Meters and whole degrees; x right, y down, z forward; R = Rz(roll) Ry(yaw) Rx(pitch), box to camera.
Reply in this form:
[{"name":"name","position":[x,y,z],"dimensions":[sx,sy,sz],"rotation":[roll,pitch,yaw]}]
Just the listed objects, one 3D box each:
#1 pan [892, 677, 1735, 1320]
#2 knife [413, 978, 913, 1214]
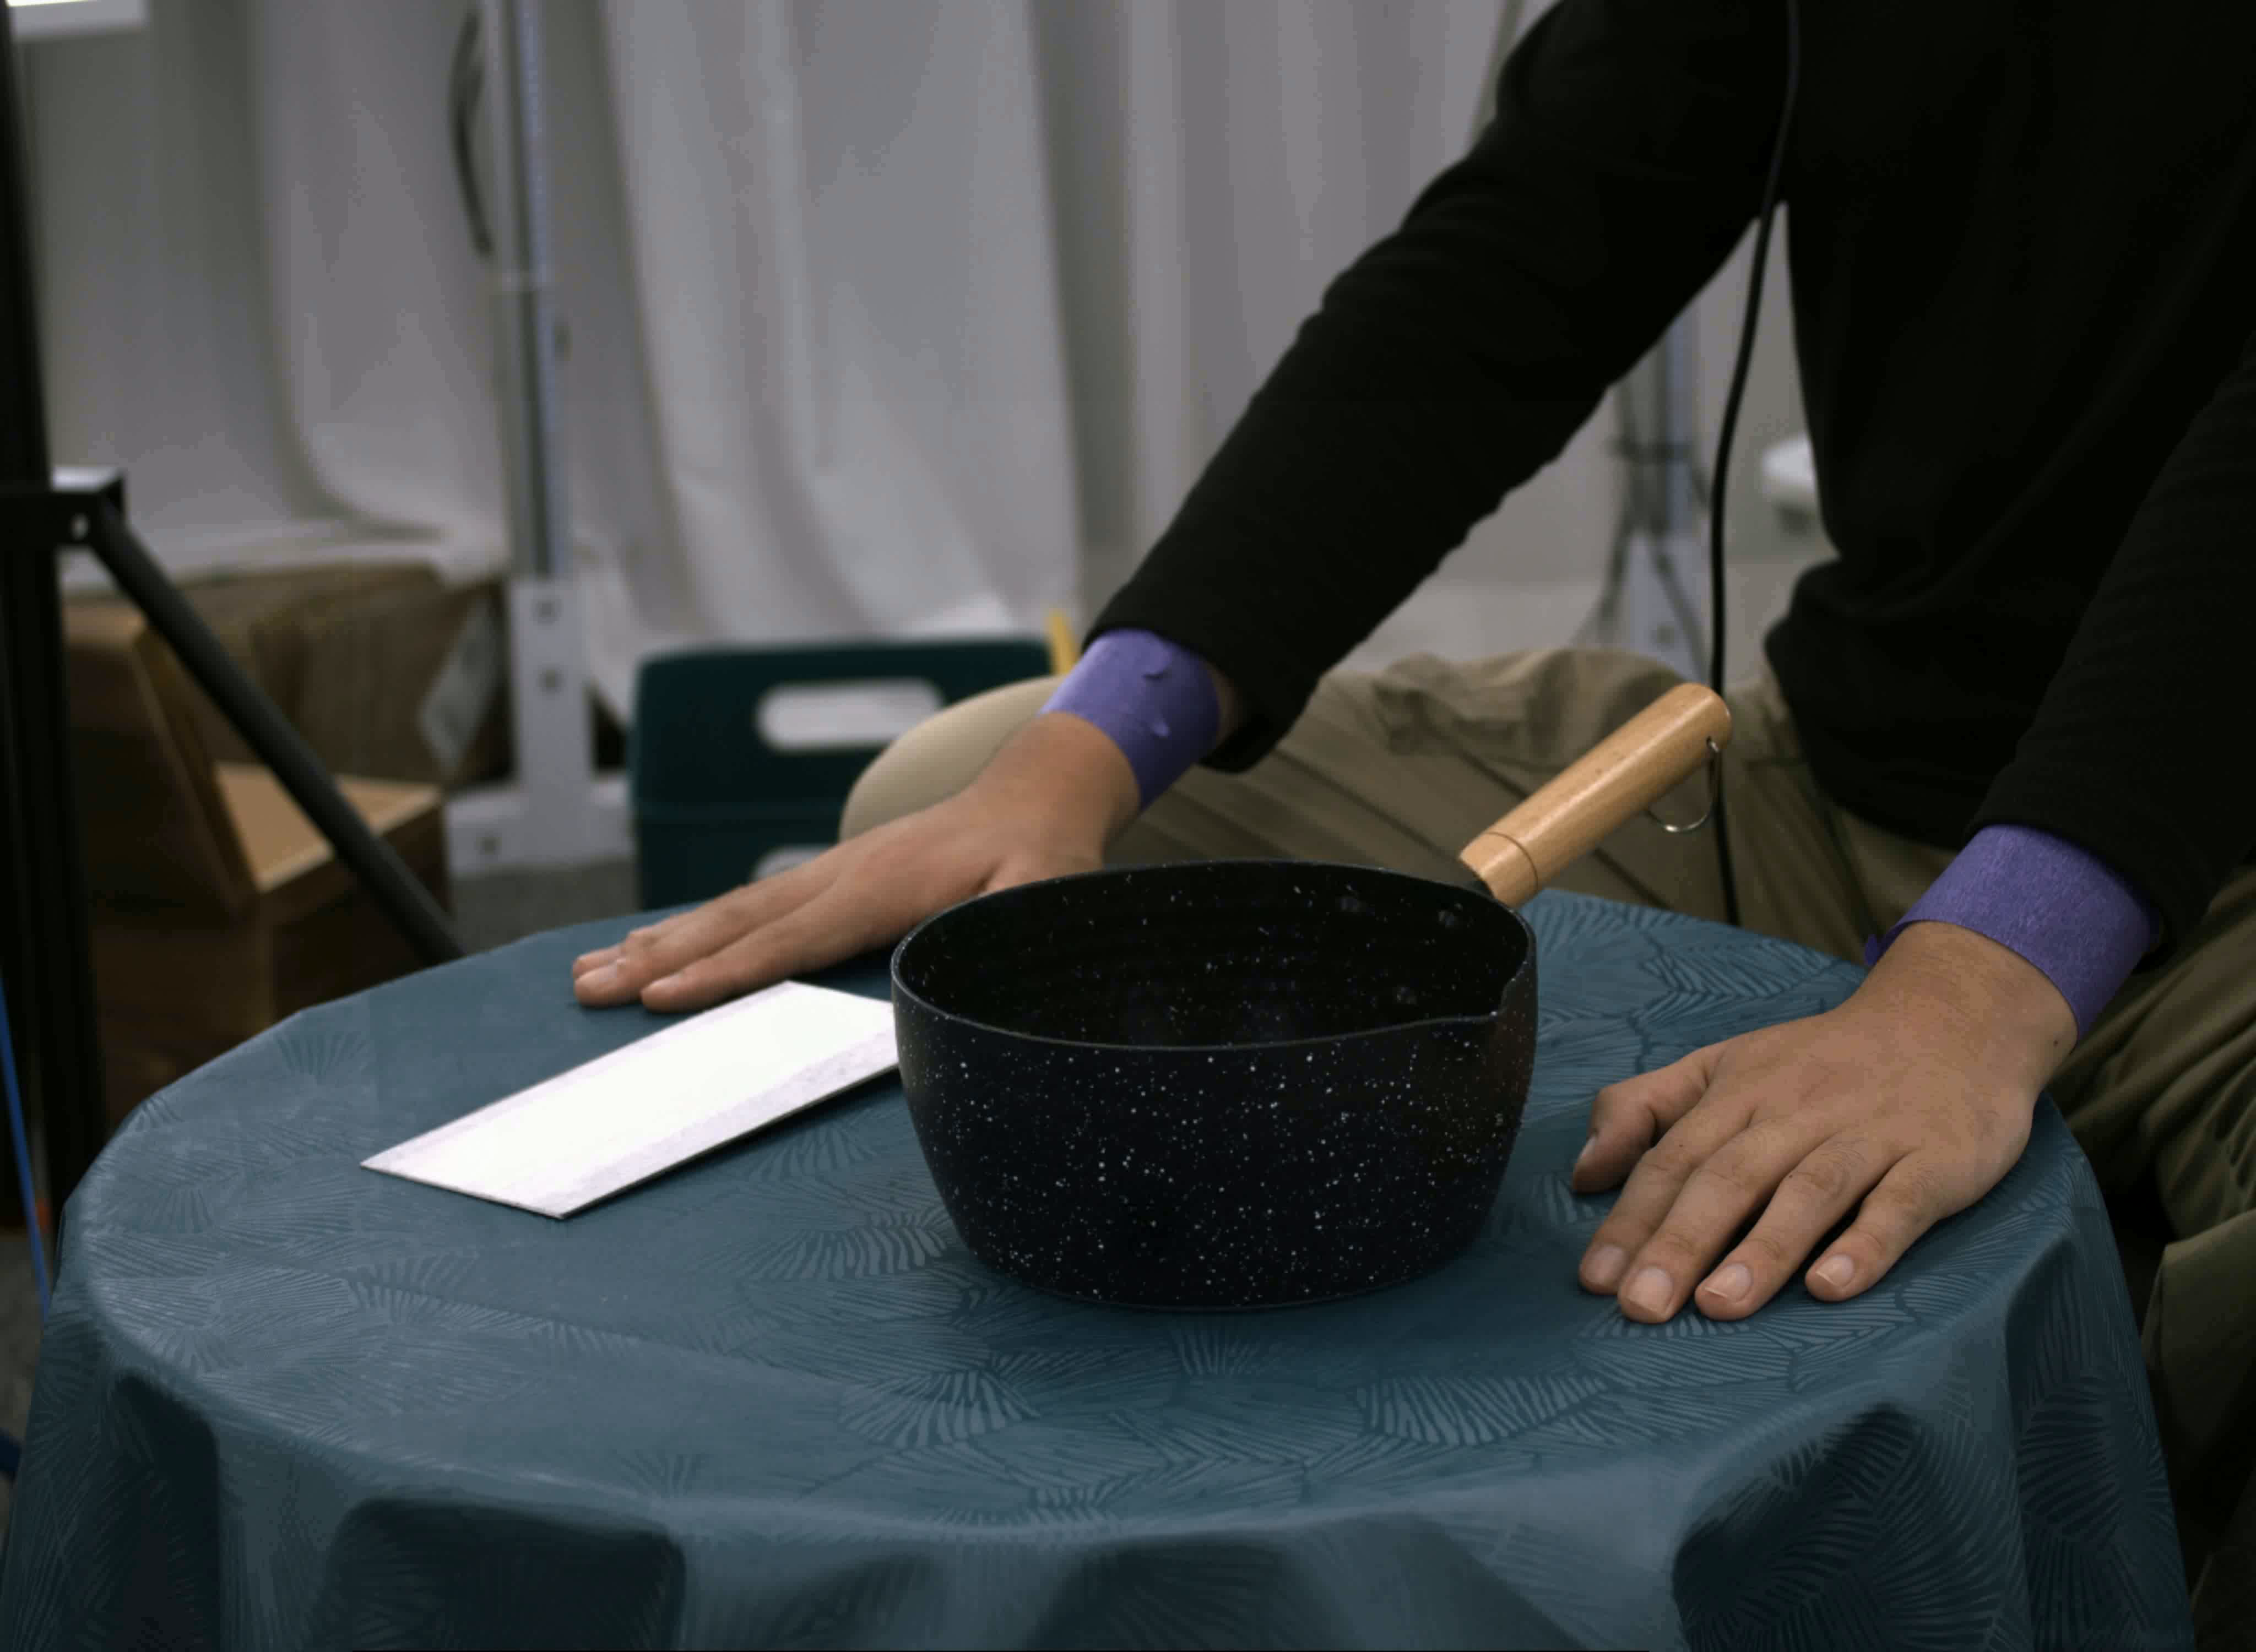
[{"name":"pan","position":[0.075,0.046,1.568],"dimensions":[0.212,0.108,0.335],"rotation":[10,21,39]},{"name":"knife","position":[-0.101,0.068,1.687],"dimensions":[0.095,0.021,0.299],"rotation":[10,22,40]}]
